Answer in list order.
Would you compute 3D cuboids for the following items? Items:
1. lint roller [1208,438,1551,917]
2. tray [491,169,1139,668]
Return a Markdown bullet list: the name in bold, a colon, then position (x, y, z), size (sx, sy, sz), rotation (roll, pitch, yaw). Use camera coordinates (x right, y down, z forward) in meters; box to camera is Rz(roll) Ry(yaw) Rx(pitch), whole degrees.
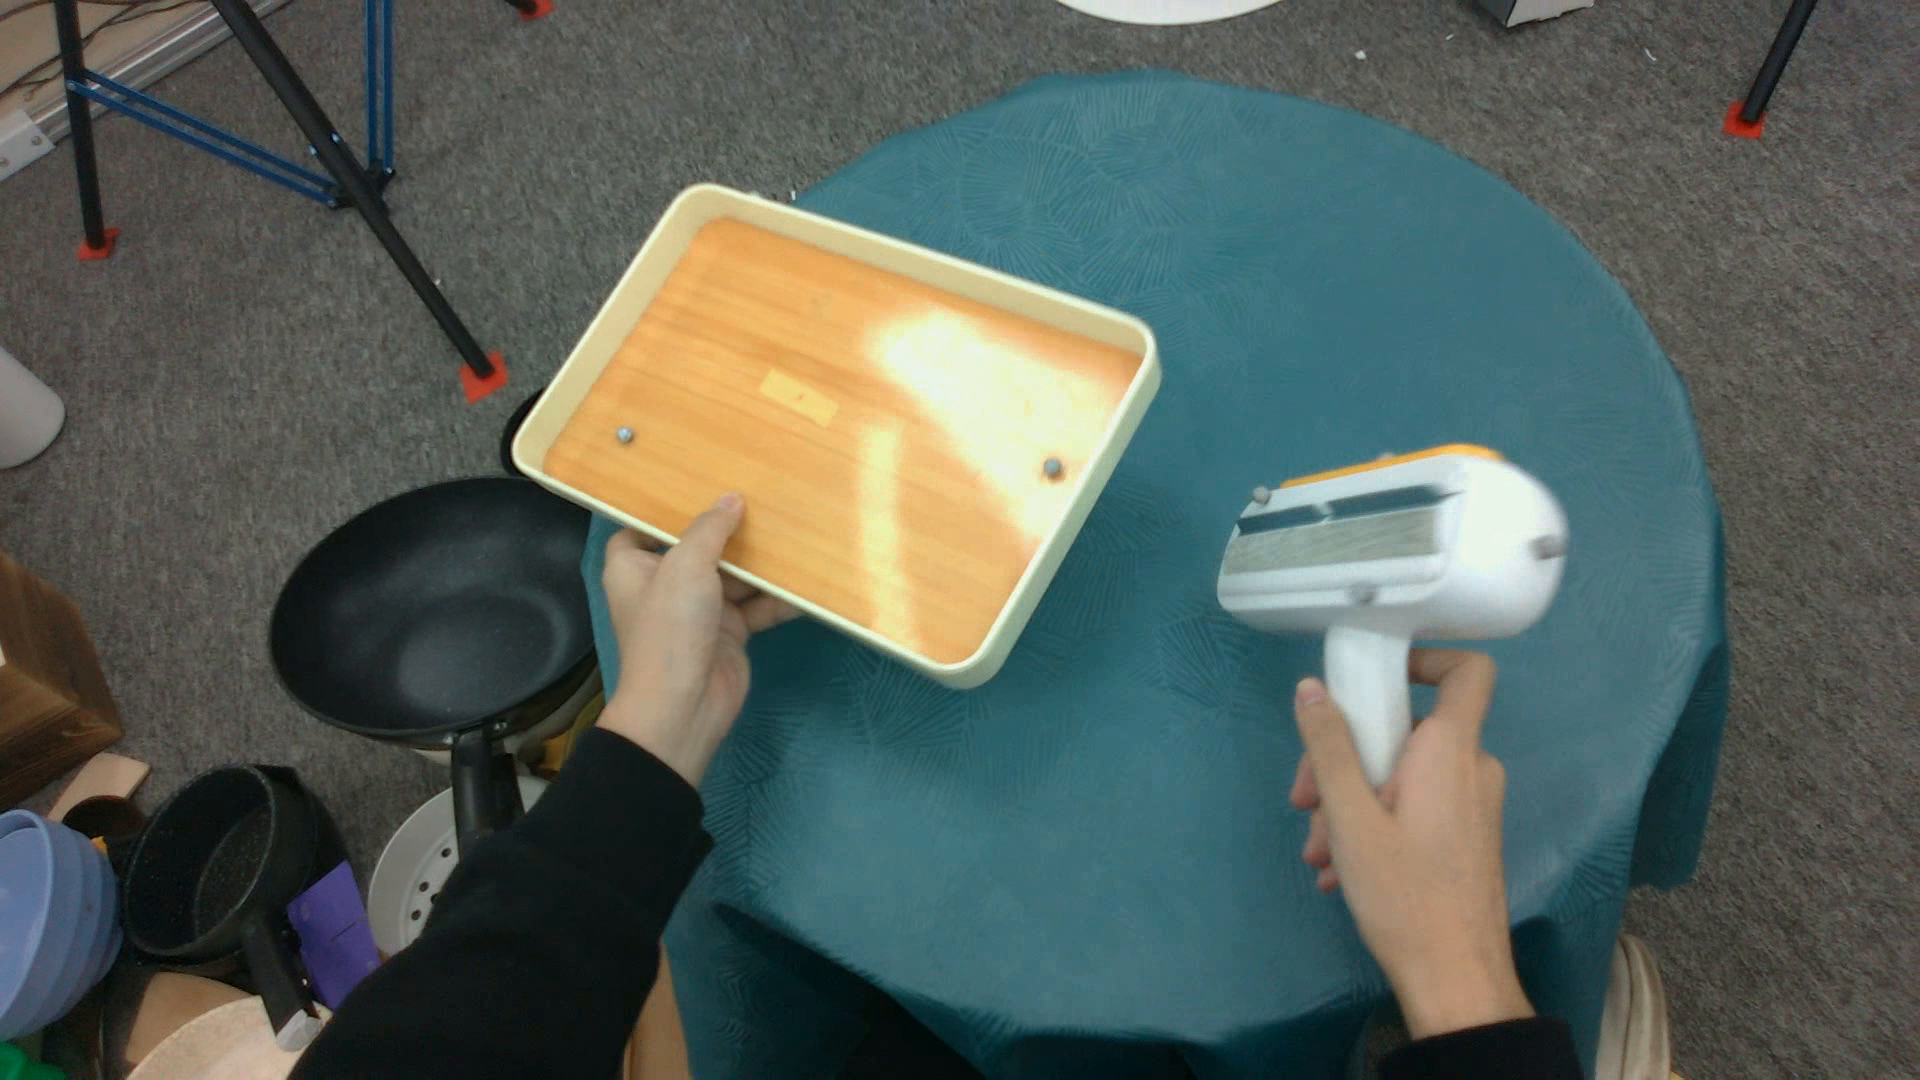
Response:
- **lint roller**: position (0.160, 0.058, 0.568), size (0.074, 0.192, 0.192), rotation (11, 87, -19)
- **tray**: position (-0.079, -0.073, 0.689), size (0.300, 0.027, 0.192), rotation (23, 74, 25)
